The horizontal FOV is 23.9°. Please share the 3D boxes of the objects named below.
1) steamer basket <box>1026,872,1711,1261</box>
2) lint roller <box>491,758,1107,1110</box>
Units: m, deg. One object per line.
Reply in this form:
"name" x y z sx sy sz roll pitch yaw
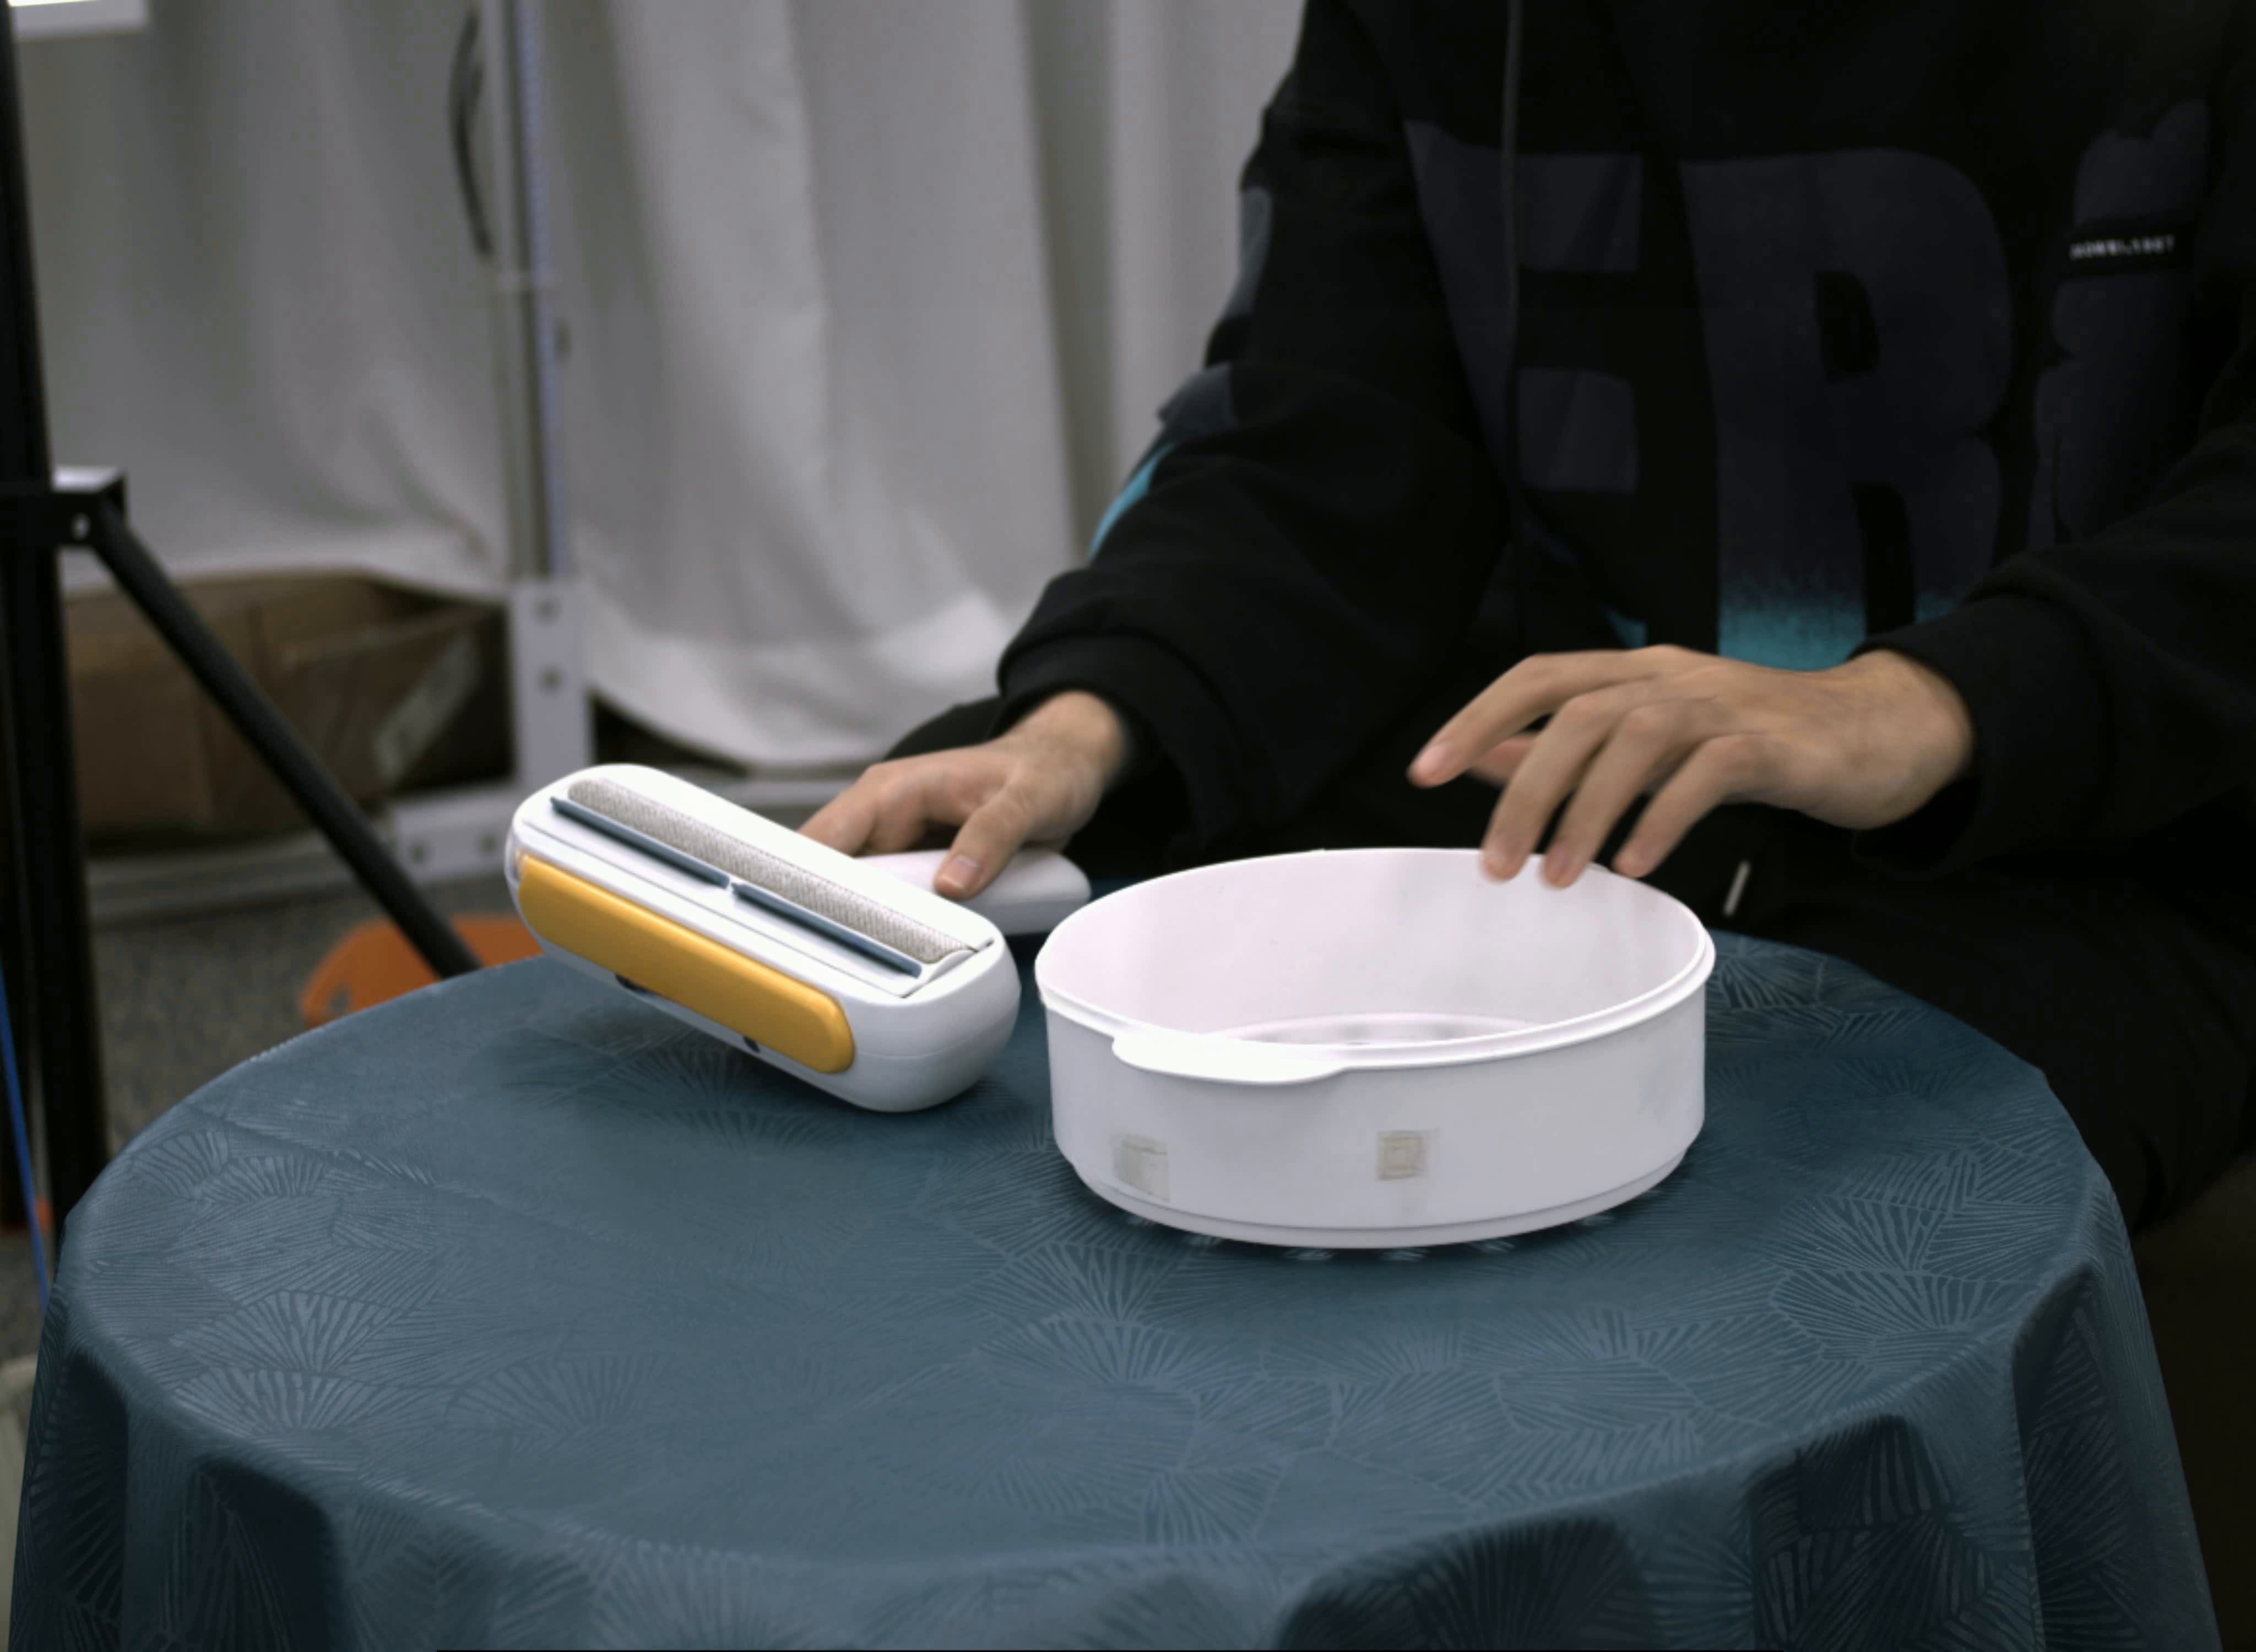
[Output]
"steamer basket" 0.070 0.071 1.564 0.205 0.069 0.226 8 16 28
"lint roller" -0.082 0.024 1.731 0.188 0.074 0.197 -20 29 -40
